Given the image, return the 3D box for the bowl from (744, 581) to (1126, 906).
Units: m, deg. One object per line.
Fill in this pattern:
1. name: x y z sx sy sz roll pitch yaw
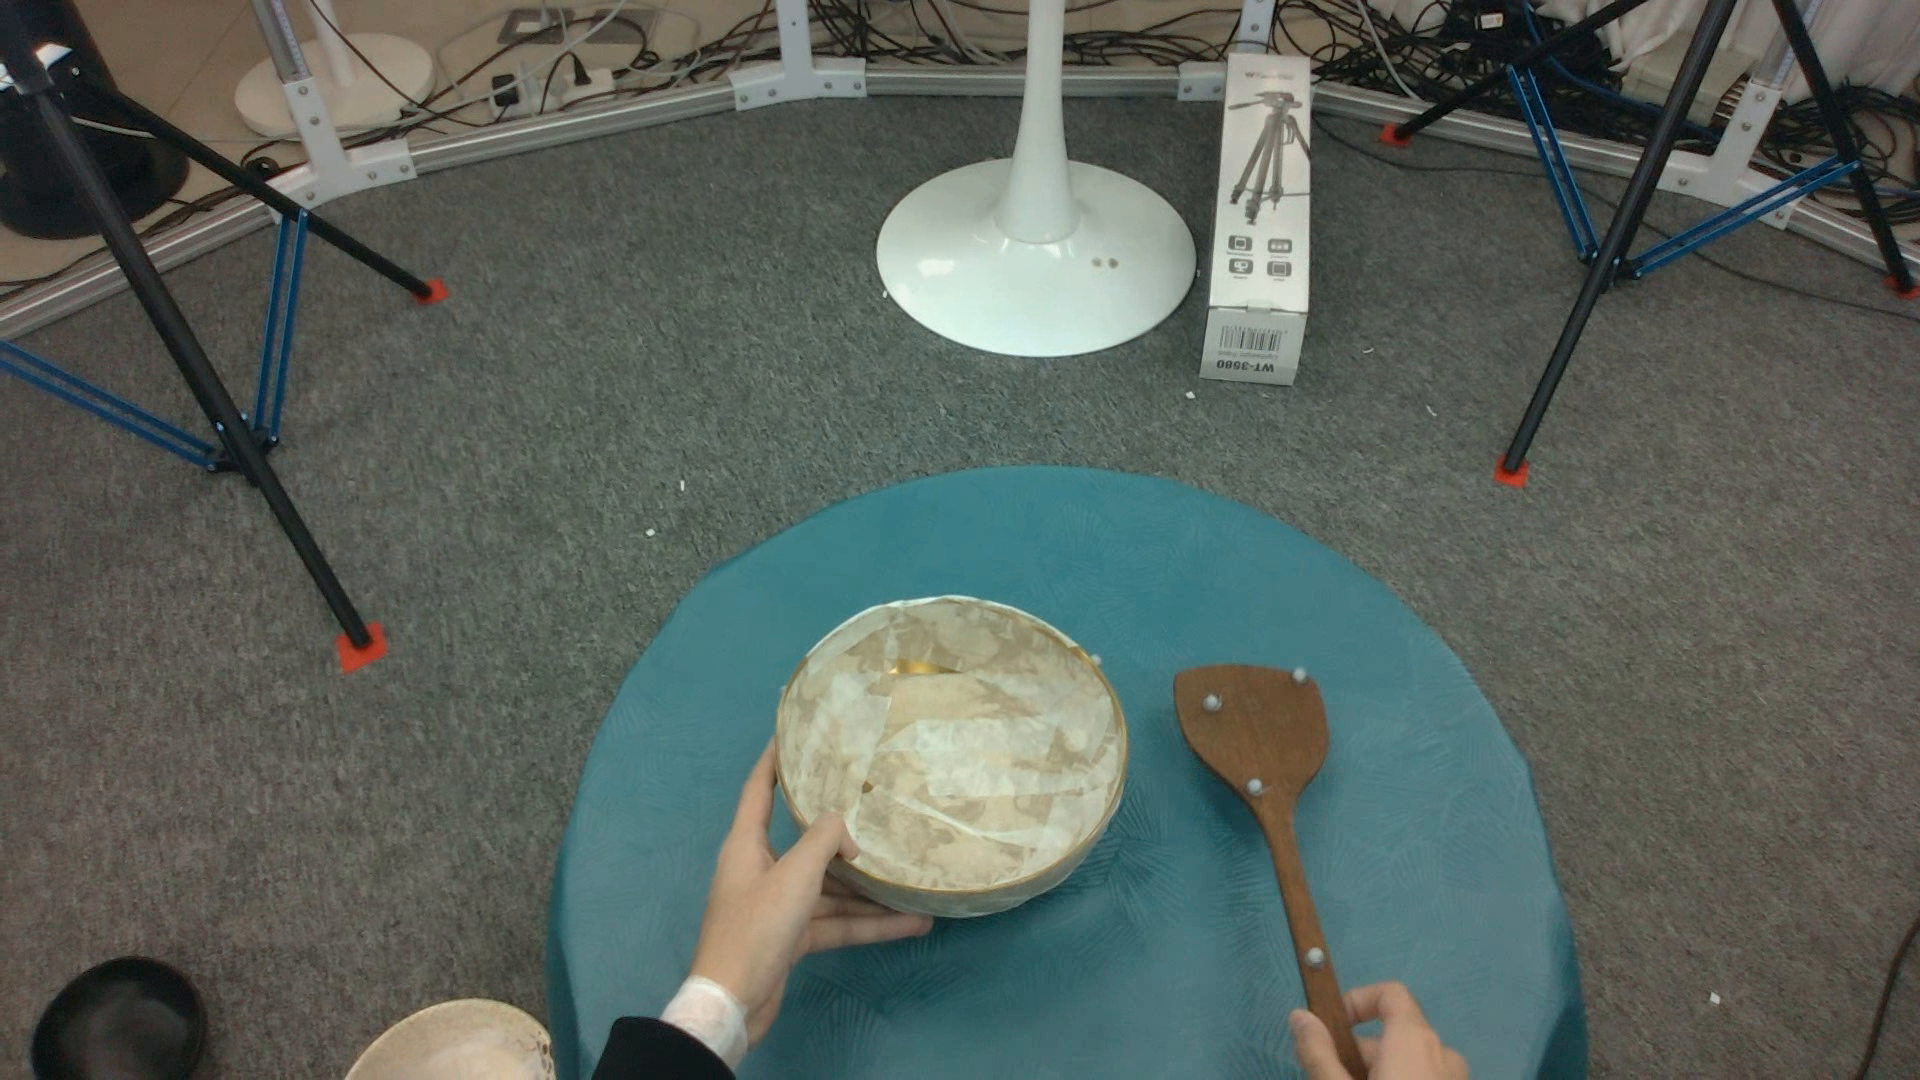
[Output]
1. bowl: -0.014 0.131 0.796 0.215 0.094 0.215 3 47 -3

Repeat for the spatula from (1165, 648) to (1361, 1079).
1. spatula: 0.179 0.200 0.728 0.096 0.016 0.387 1 42 -4
